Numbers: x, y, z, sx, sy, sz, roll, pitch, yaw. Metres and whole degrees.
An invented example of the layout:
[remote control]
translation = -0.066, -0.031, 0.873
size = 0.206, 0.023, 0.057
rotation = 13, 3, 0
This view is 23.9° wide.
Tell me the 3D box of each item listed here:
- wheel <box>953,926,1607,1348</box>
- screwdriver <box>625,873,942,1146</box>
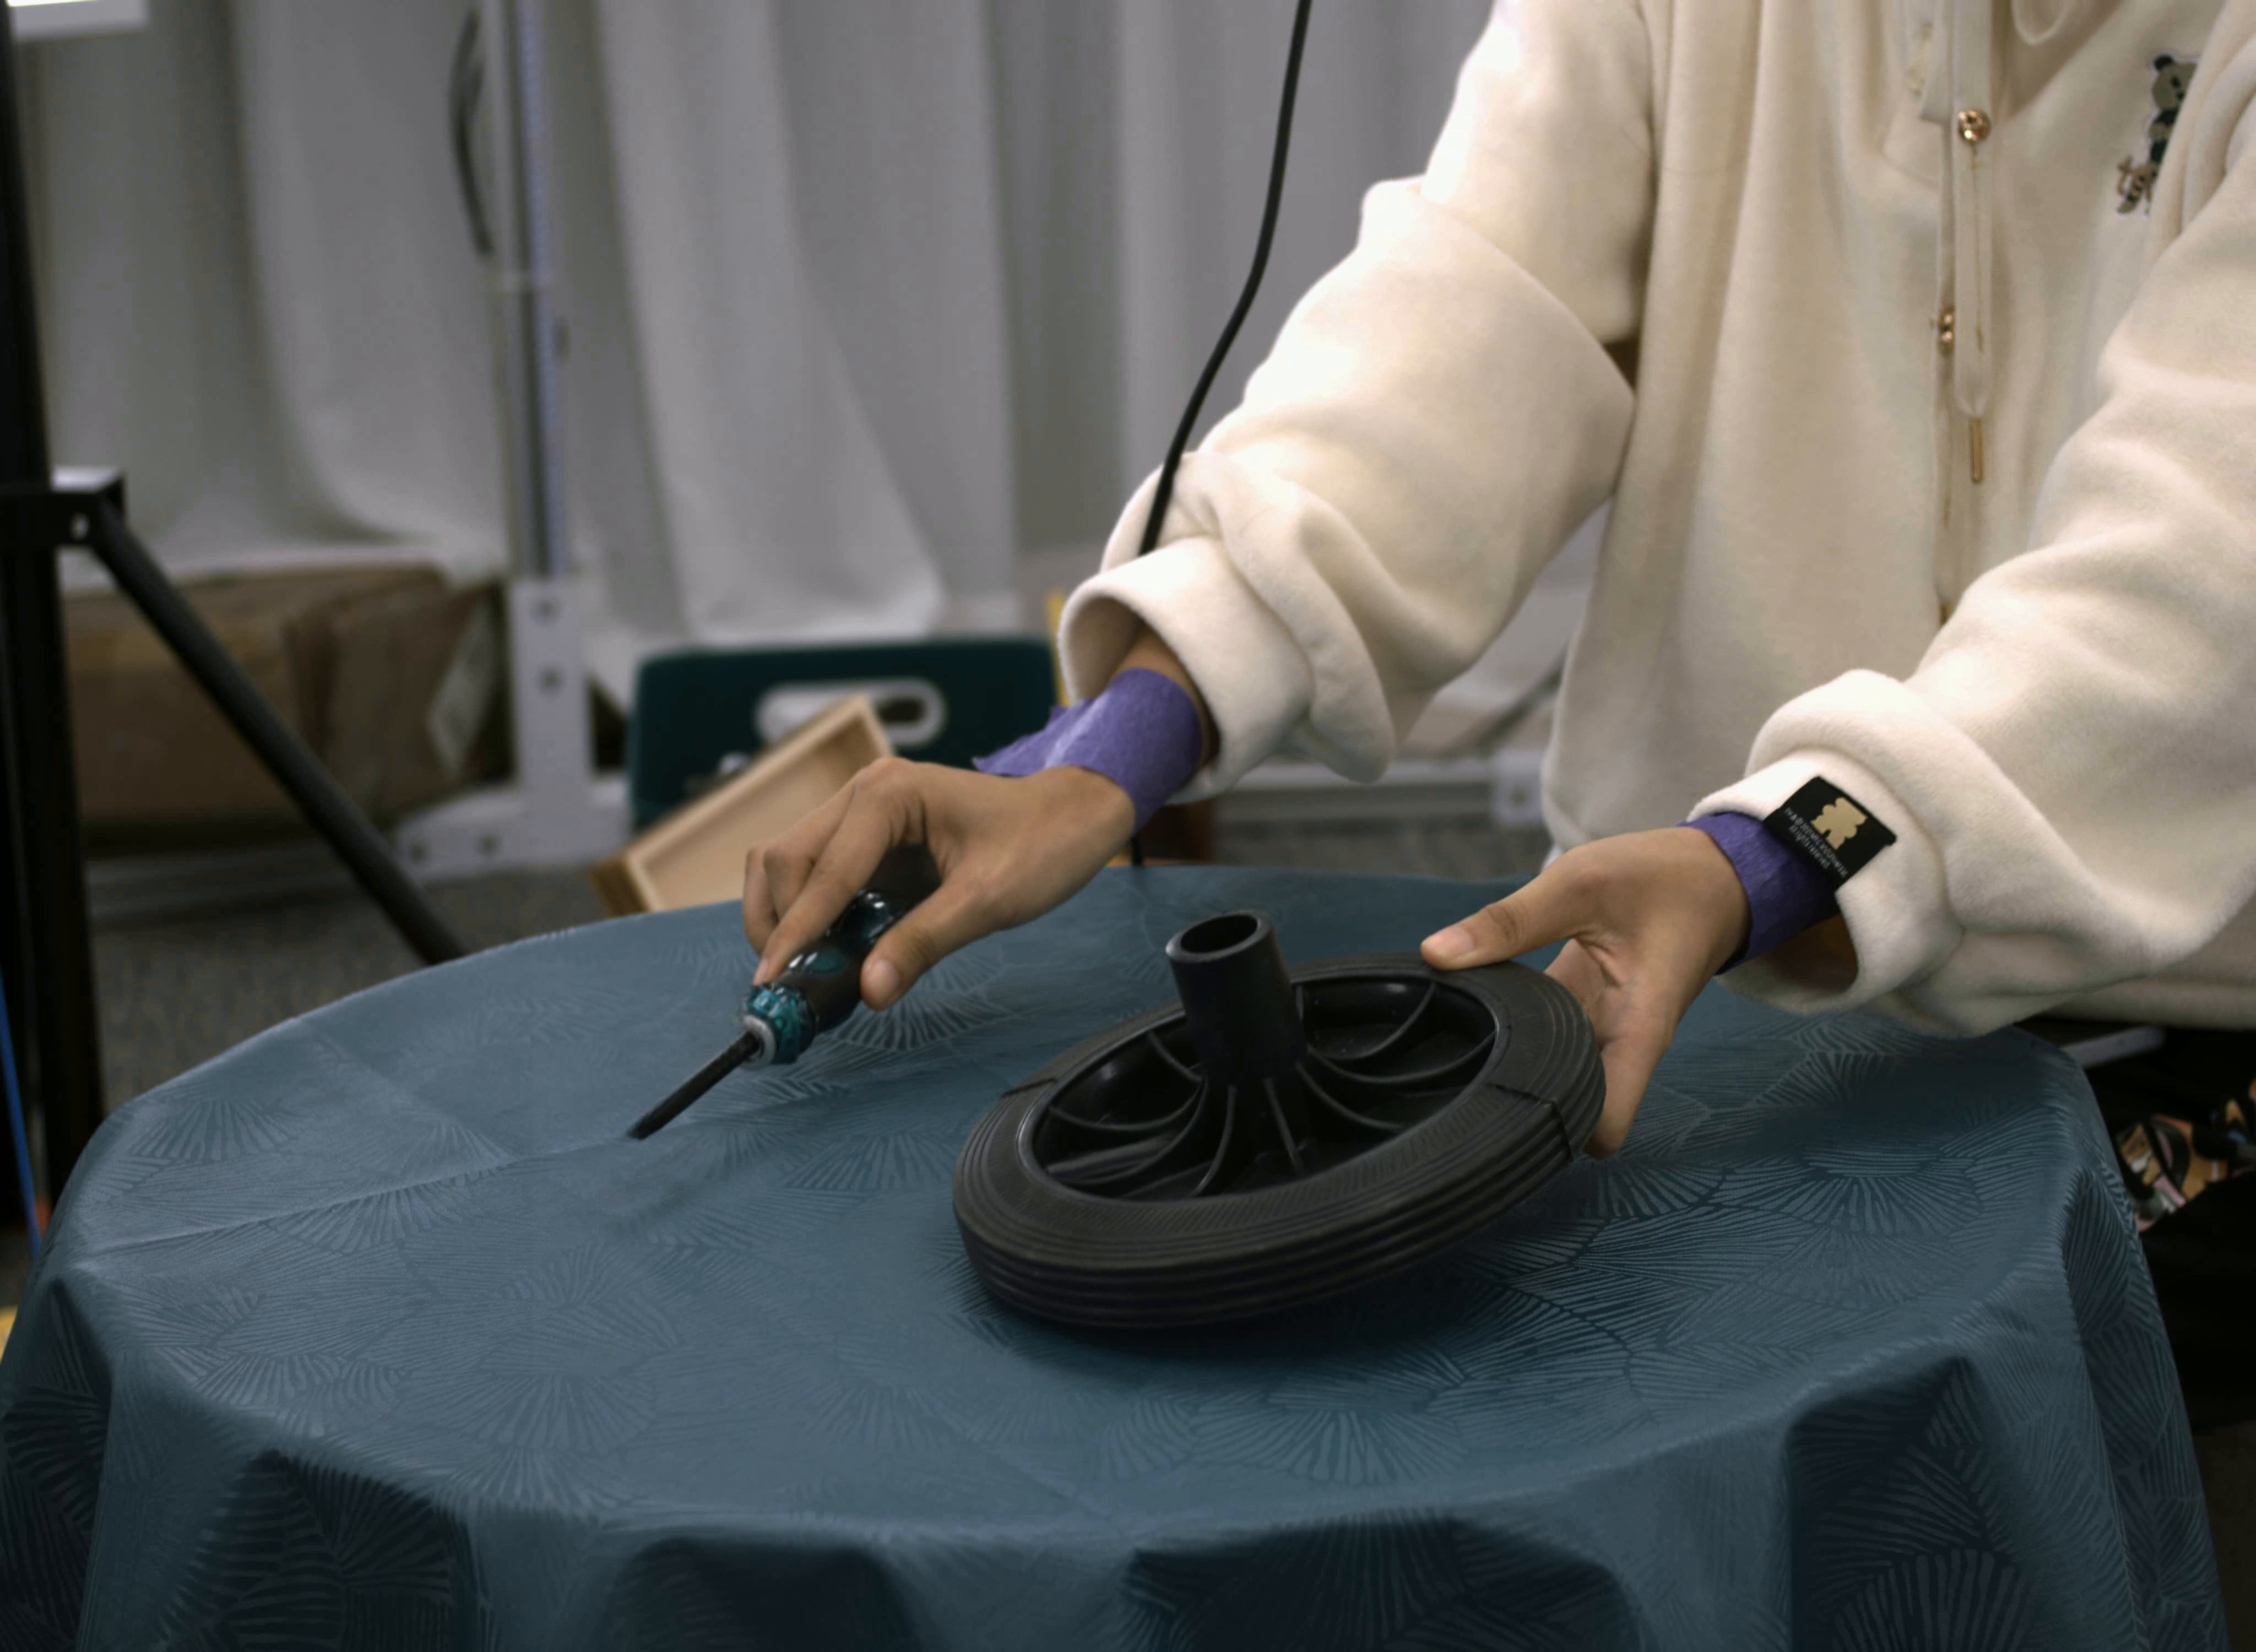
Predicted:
[wheel]
translation = 0.036, 0.071, 1.486
size = 0.187, 0.078, 0.191
rotation = -25, 22, -14
[screwdriver]
translation = -0.108, 0.059, 1.636
size = 0.034, 0.033, 0.187
rotation = 5, 23, 24
